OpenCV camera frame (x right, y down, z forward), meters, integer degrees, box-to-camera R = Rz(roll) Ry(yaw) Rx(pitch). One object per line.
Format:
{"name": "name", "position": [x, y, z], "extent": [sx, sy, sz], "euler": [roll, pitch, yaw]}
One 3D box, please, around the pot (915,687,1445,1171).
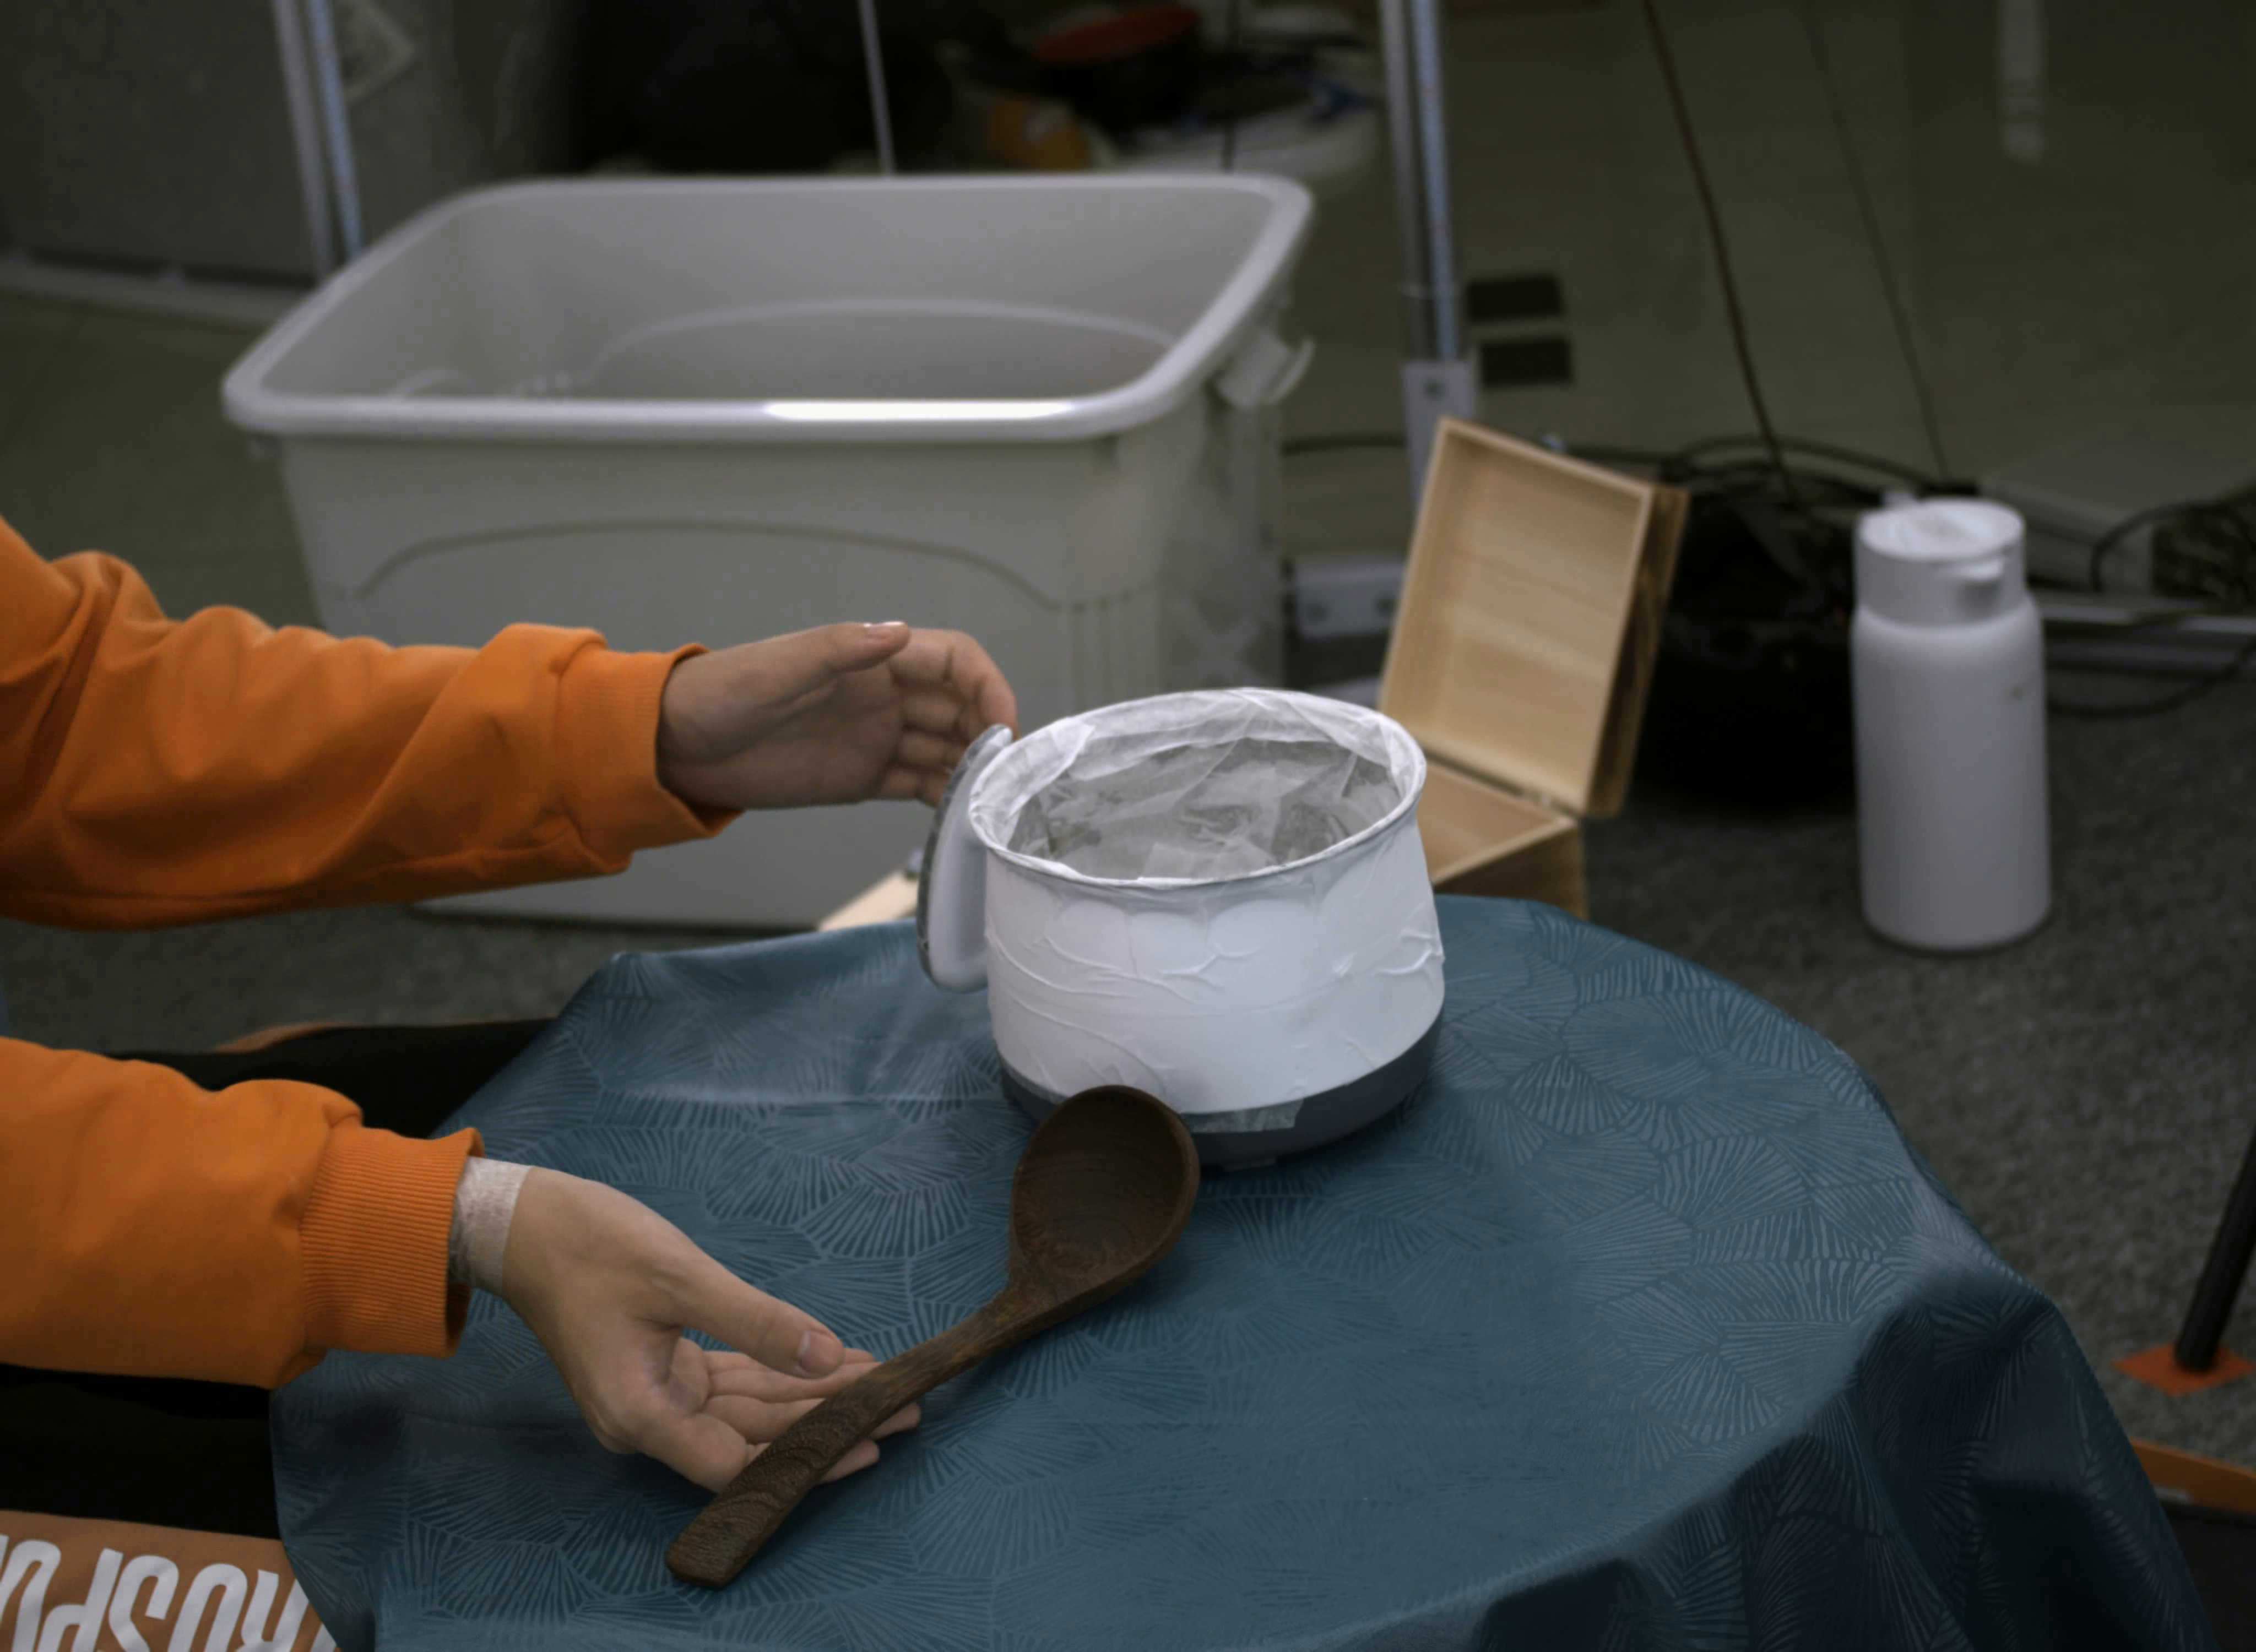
{"name": "pot", "position": [0.010, 0.035, 2.200], "extent": [0.232, 0.139, 0.177], "euler": [13, 31, 35]}

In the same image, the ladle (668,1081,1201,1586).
{"name": "ladle", "position": [-0.071, 0.174, 2.006], "extent": [0.075, 0.072, 0.271], "euler": [13, 30, 36]}
